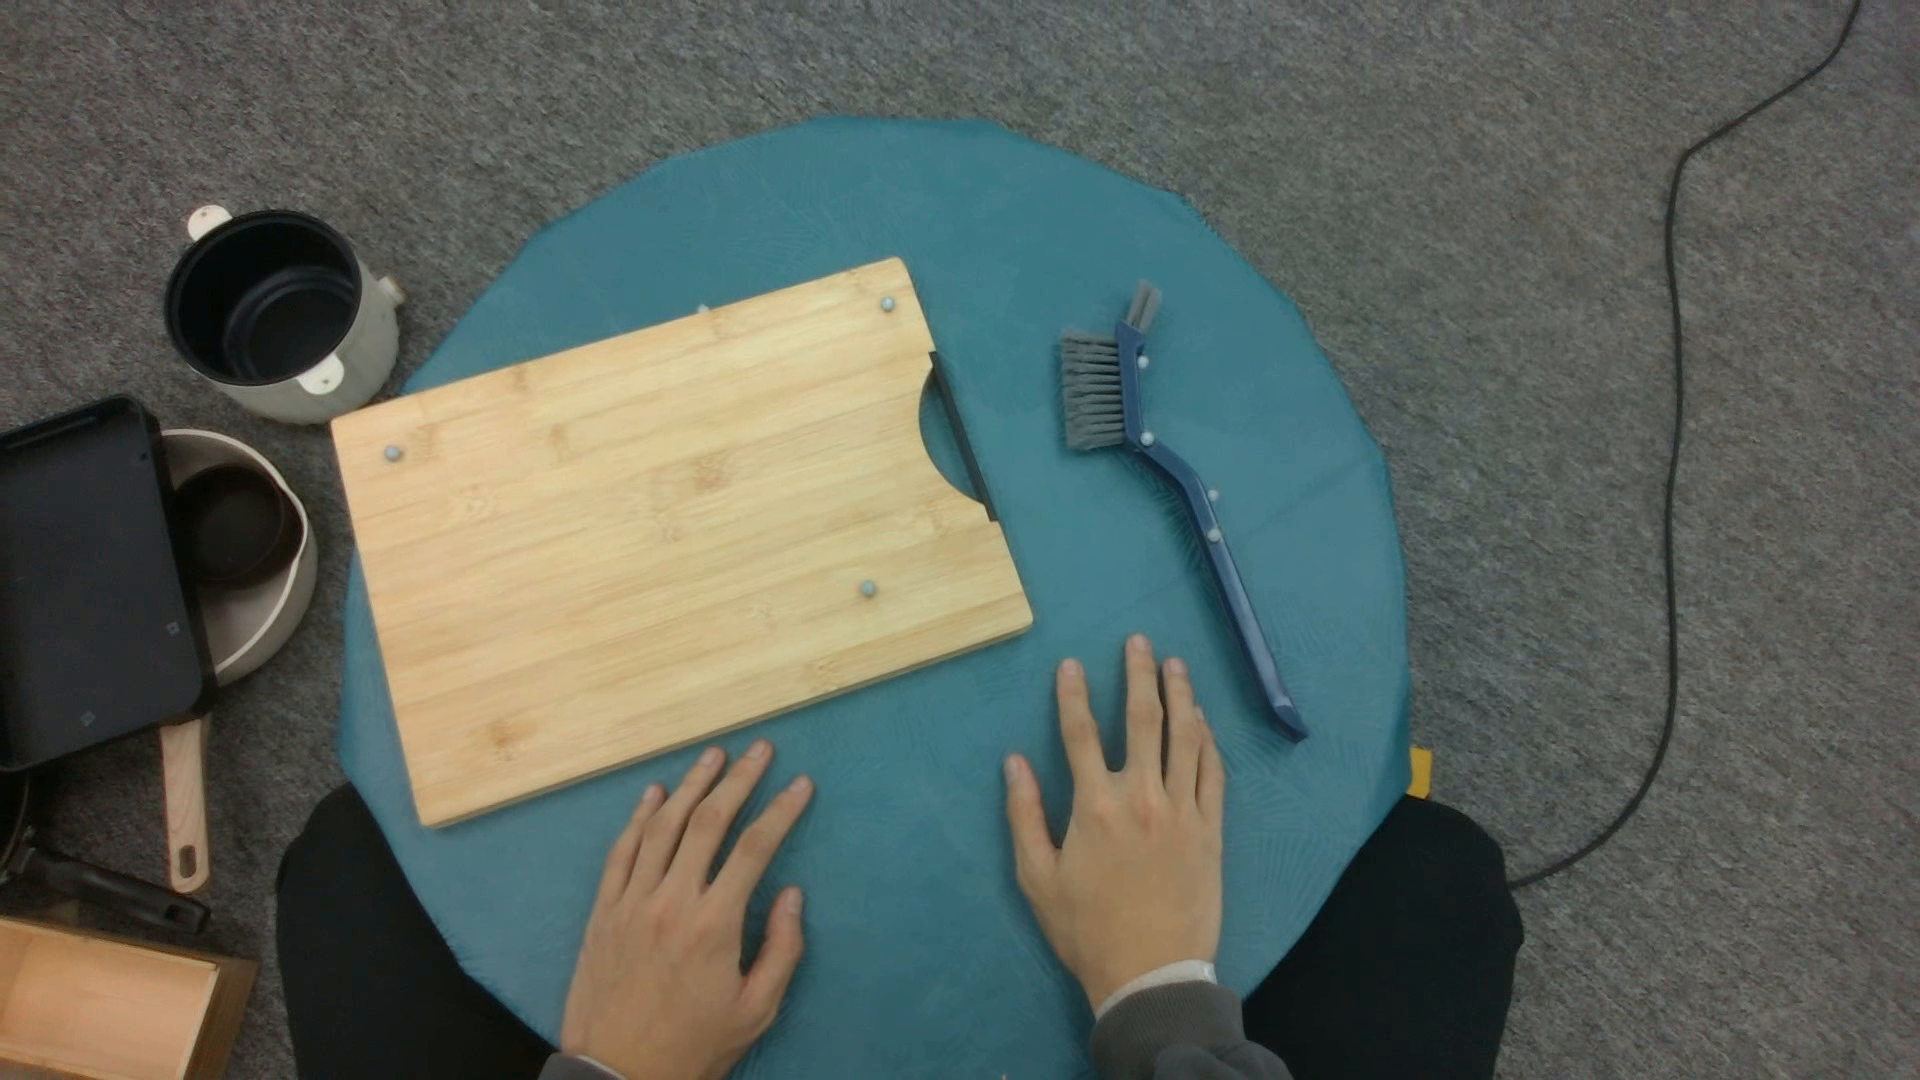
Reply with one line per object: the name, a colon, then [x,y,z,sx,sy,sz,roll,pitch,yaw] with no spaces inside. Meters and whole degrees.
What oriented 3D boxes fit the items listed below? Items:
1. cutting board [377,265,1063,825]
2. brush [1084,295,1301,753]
cutting board: [-0.145,-0.006,0.795,0.349,0.023,0.251,-19,74,-7]
brush: [0.148,-0.013,0.794,0.096,0.033,0.273,-25,73,-8]
